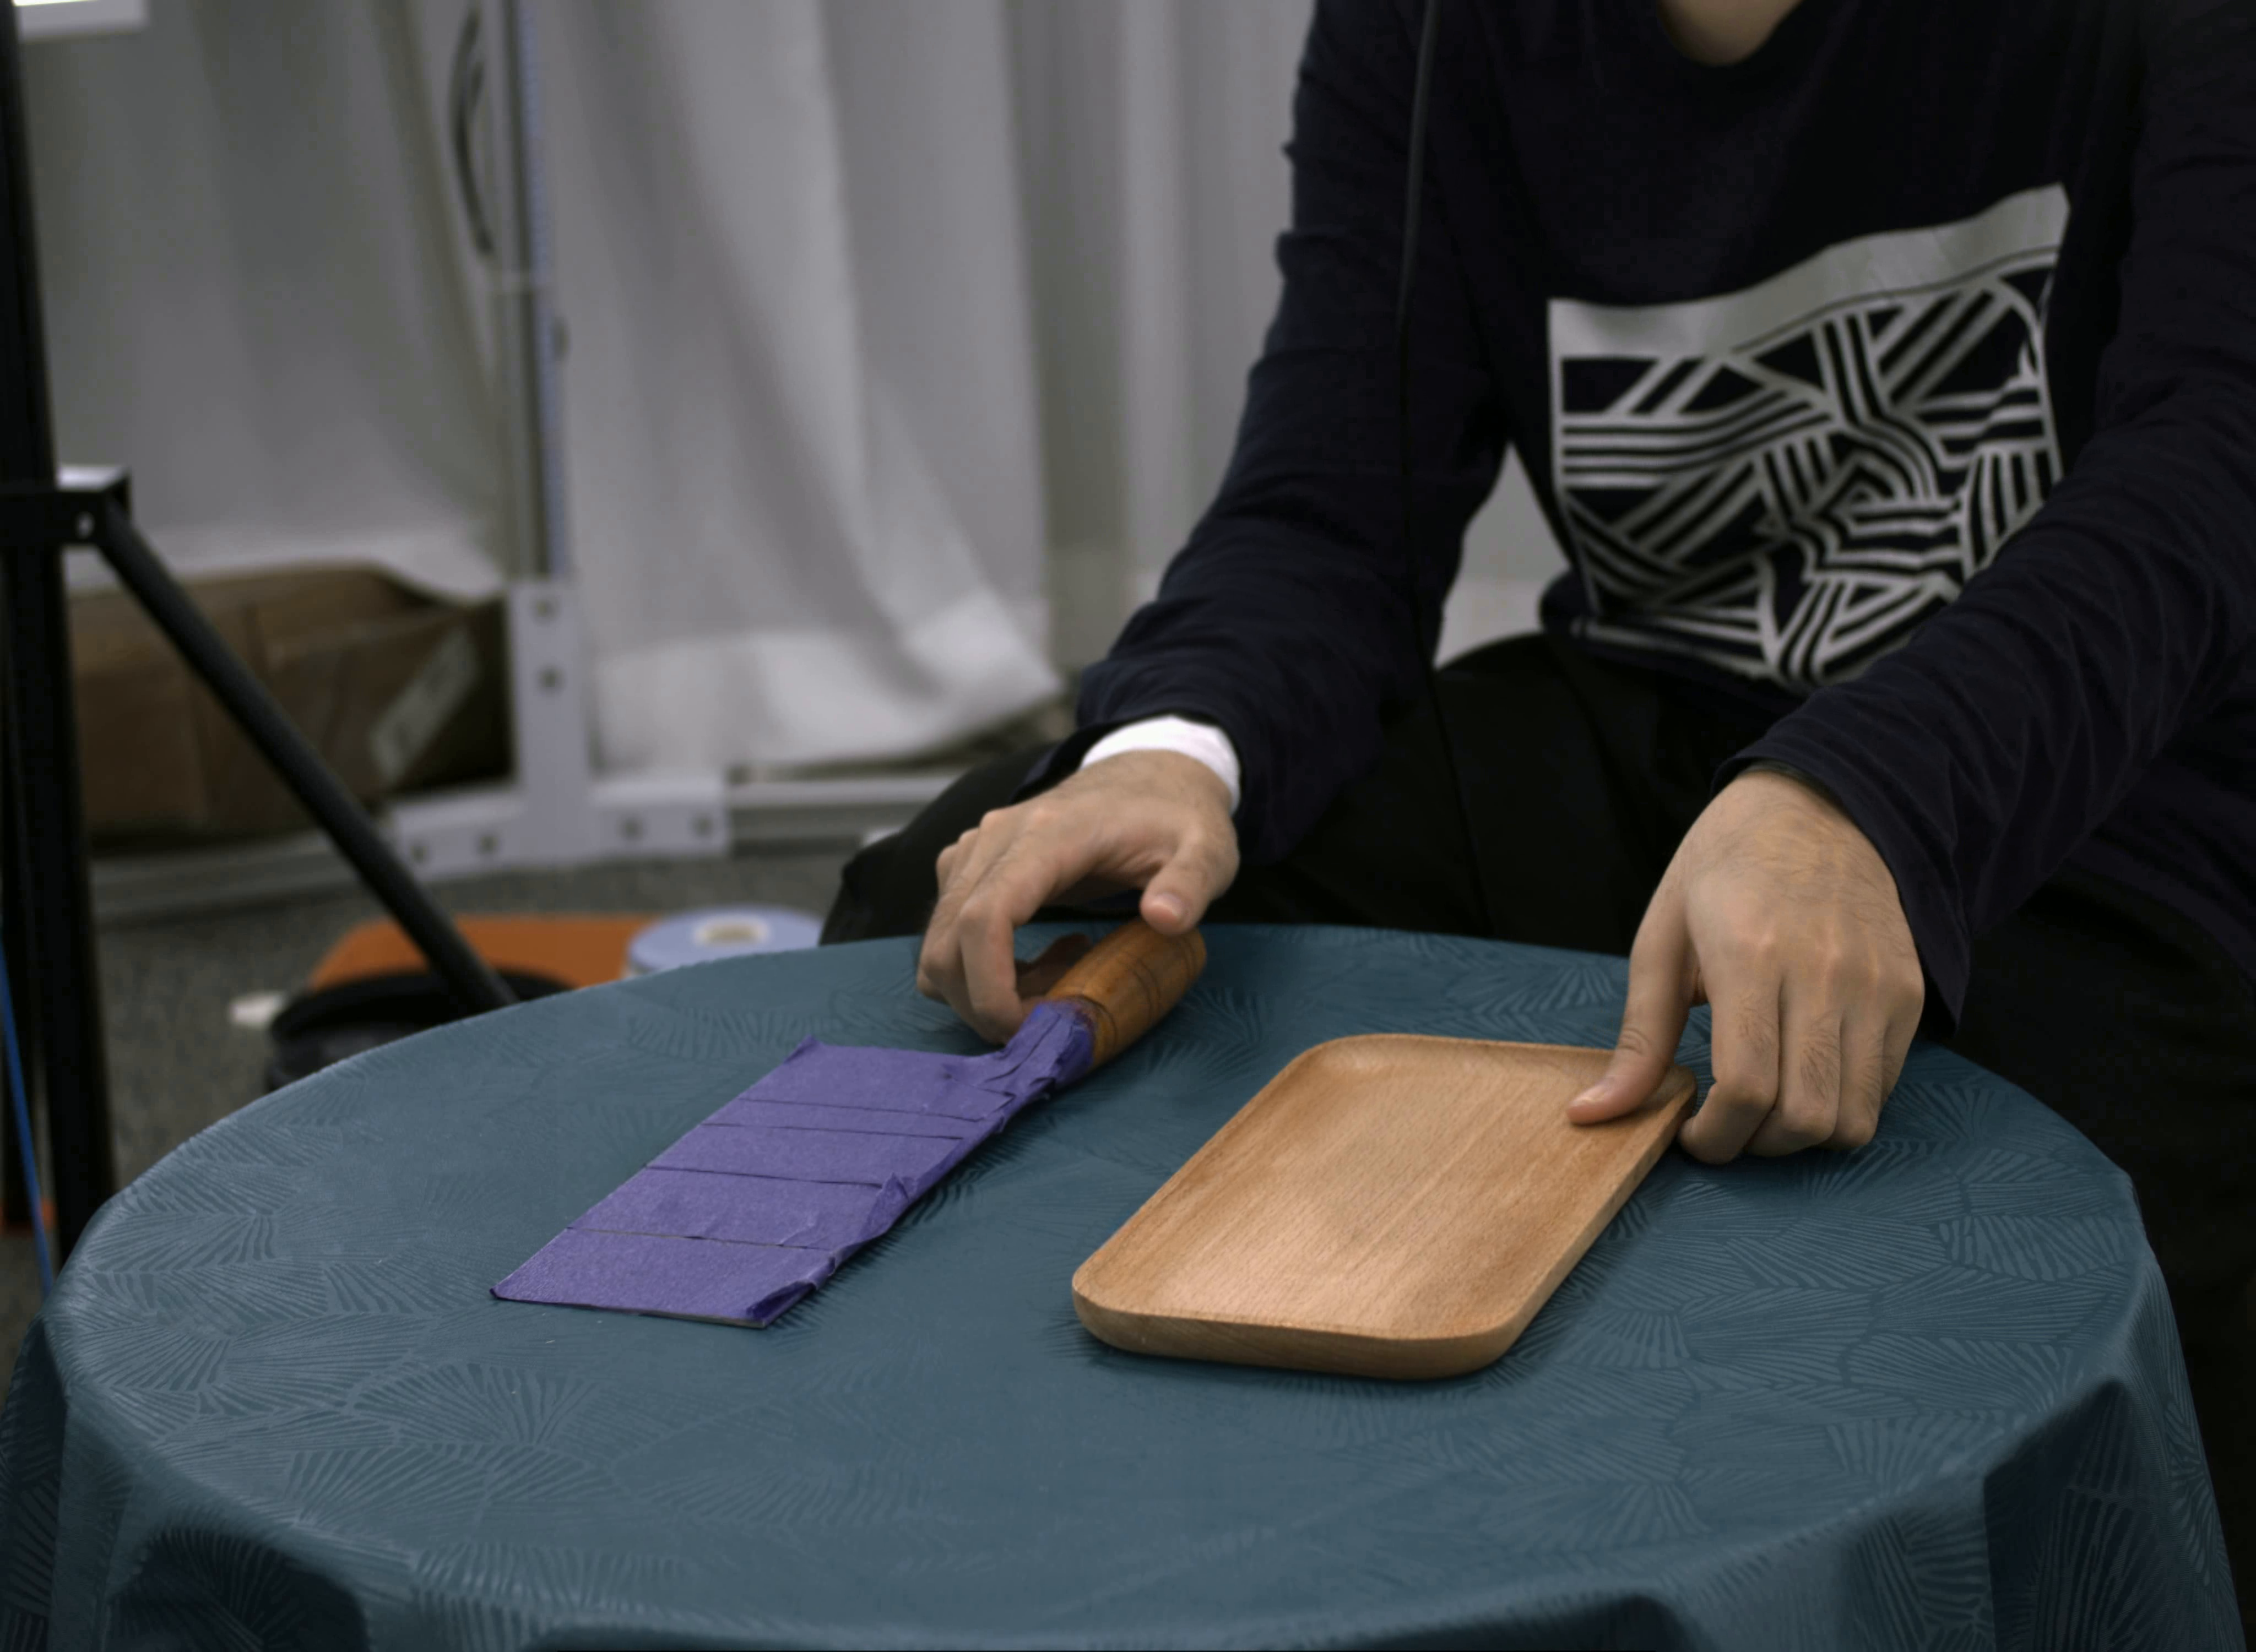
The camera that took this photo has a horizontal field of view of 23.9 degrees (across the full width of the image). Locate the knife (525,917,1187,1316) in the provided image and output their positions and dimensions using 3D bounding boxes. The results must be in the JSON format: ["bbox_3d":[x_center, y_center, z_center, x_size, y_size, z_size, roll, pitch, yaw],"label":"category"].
[{"bbox_3d":[-0.079,0.084,1.612,0.105,0.032,0.311,4,17,23],"label":"knife"}]

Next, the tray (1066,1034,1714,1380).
[{"bbox_3d":[0.080,0.107,1.525,0.132,0.023,0.247,7,17,22],"label":"tray"}]
